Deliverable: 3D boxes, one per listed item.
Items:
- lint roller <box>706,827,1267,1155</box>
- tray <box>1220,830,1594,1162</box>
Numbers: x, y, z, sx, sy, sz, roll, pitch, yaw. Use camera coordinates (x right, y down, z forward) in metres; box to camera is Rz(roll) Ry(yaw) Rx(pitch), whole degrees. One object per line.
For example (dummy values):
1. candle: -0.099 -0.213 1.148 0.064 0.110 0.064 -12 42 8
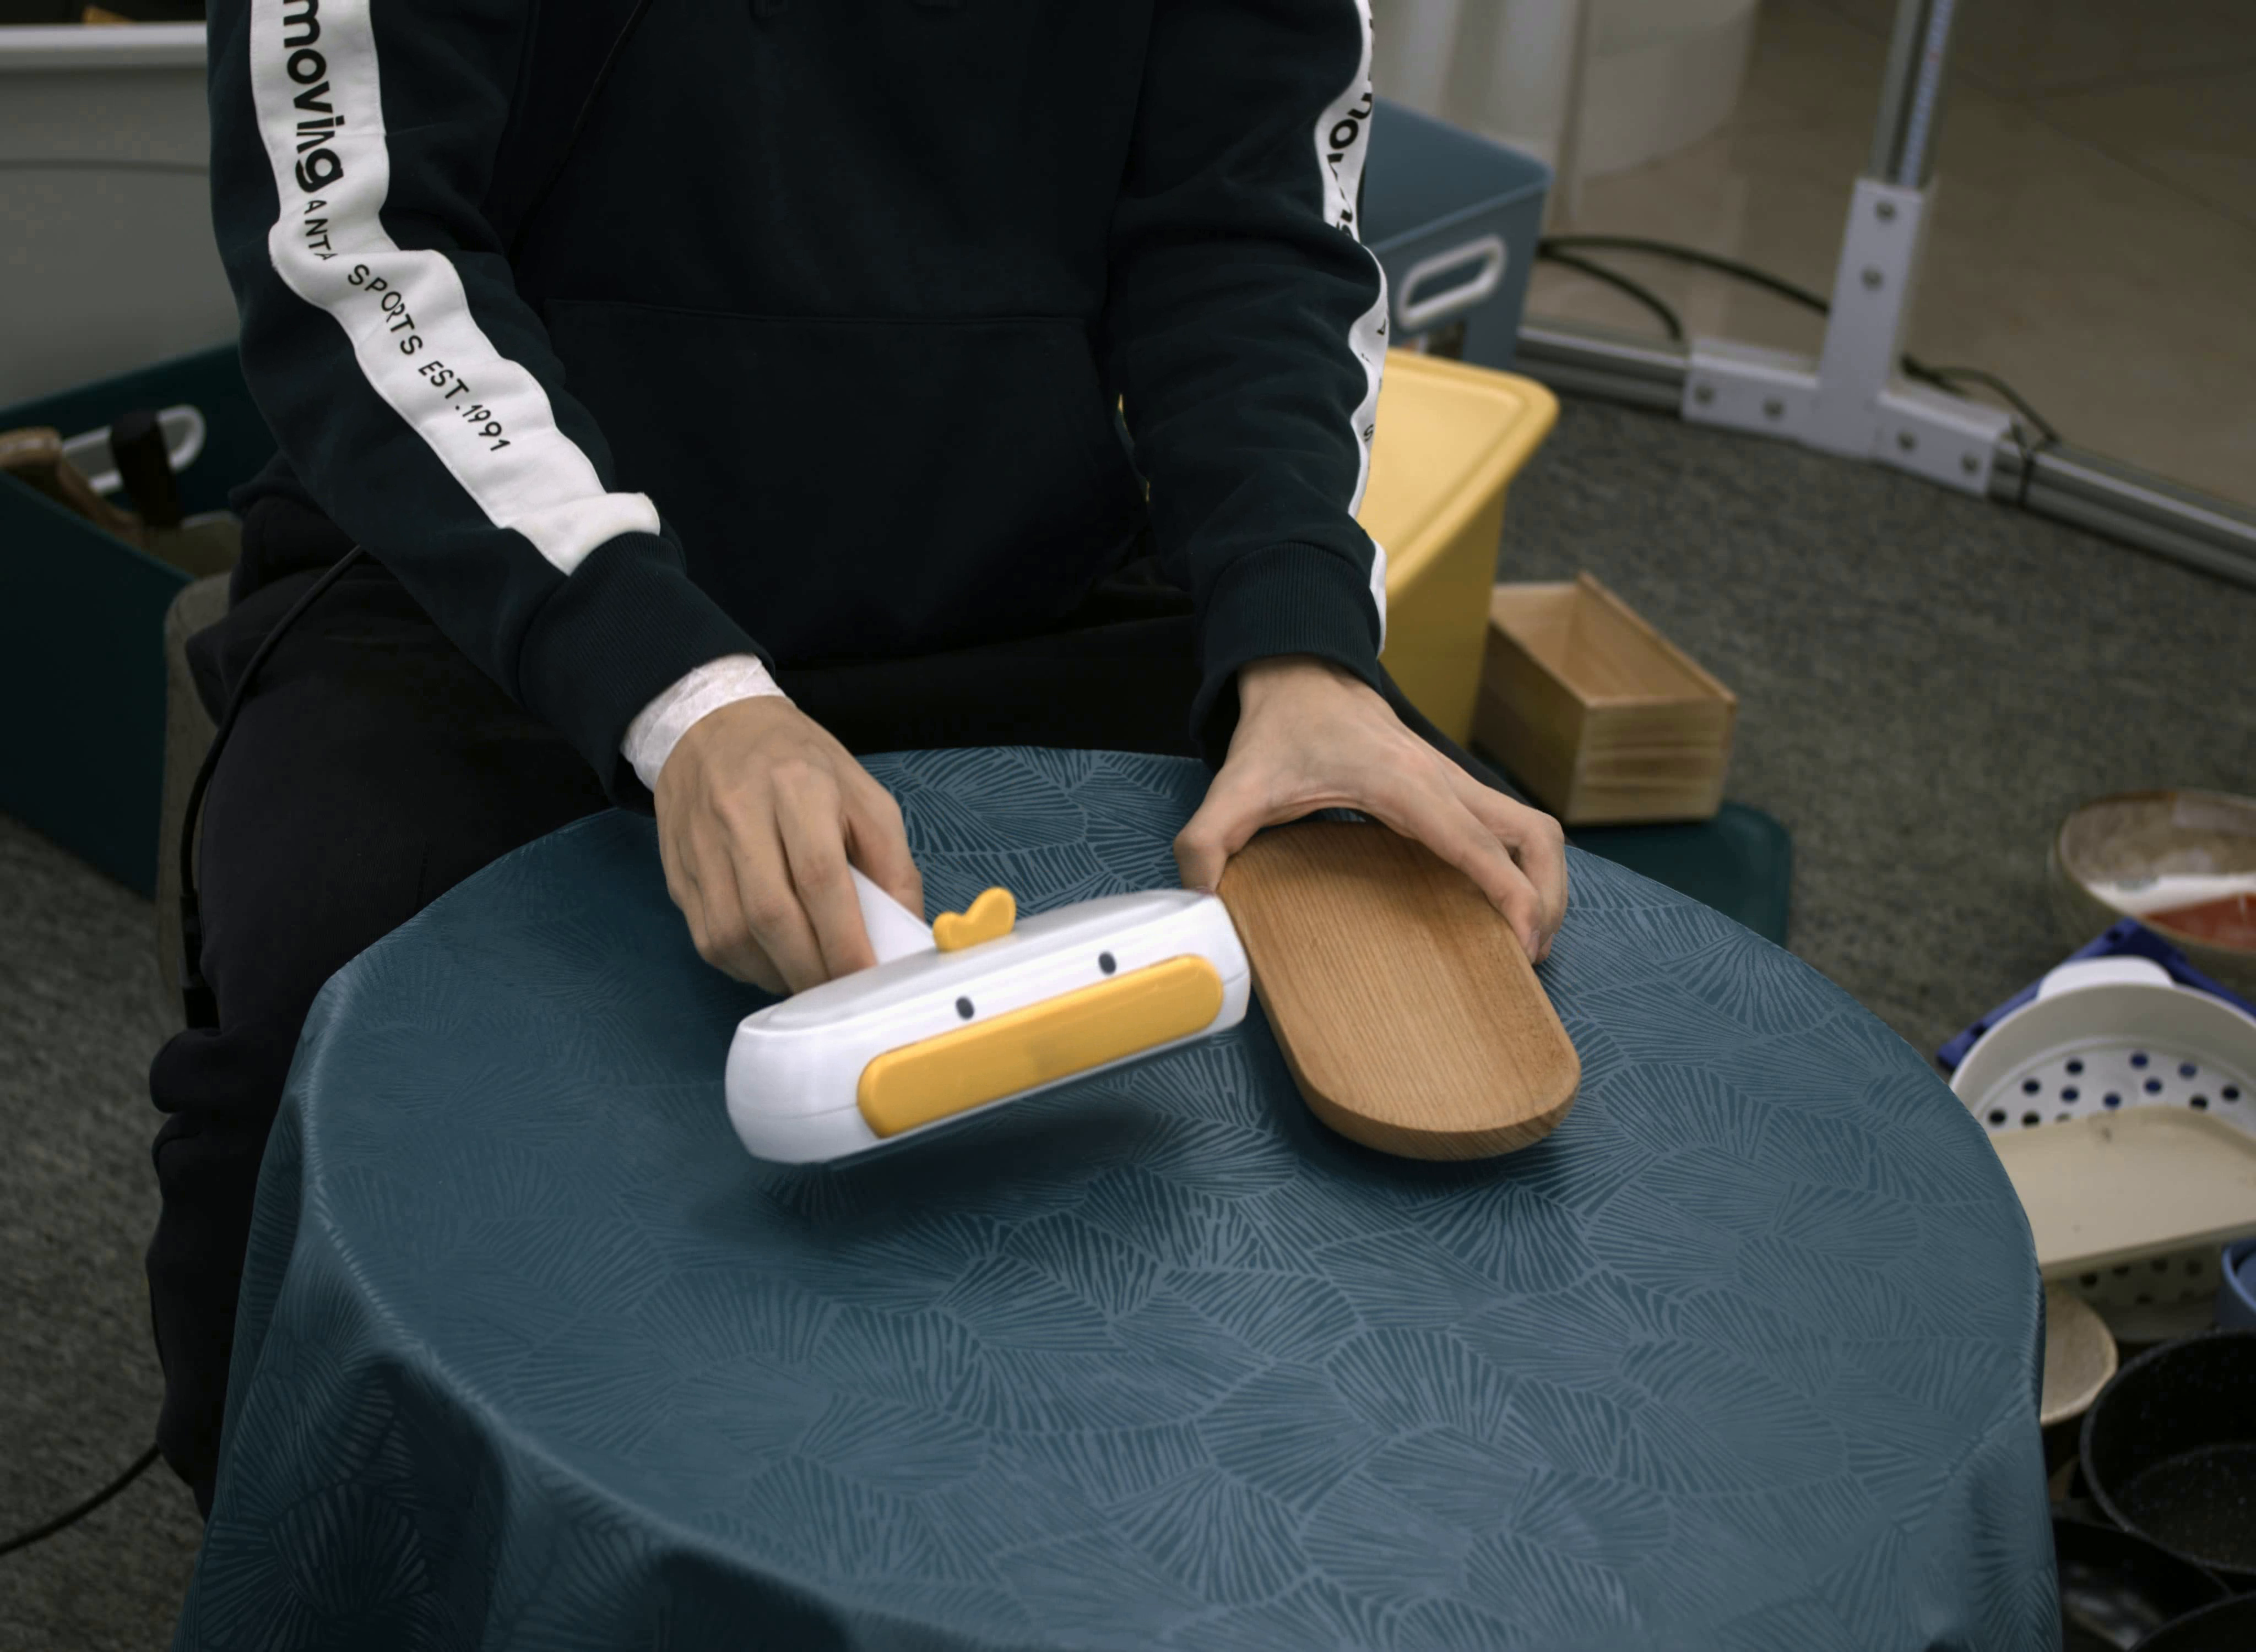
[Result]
1. lint roller: -0.077 0.045 1.833 0.192 0.074 0.194 -24 24 -33
2. tray: 0.097 0.059 1.906 0.101 0.020 0.233 -4 28 -11
